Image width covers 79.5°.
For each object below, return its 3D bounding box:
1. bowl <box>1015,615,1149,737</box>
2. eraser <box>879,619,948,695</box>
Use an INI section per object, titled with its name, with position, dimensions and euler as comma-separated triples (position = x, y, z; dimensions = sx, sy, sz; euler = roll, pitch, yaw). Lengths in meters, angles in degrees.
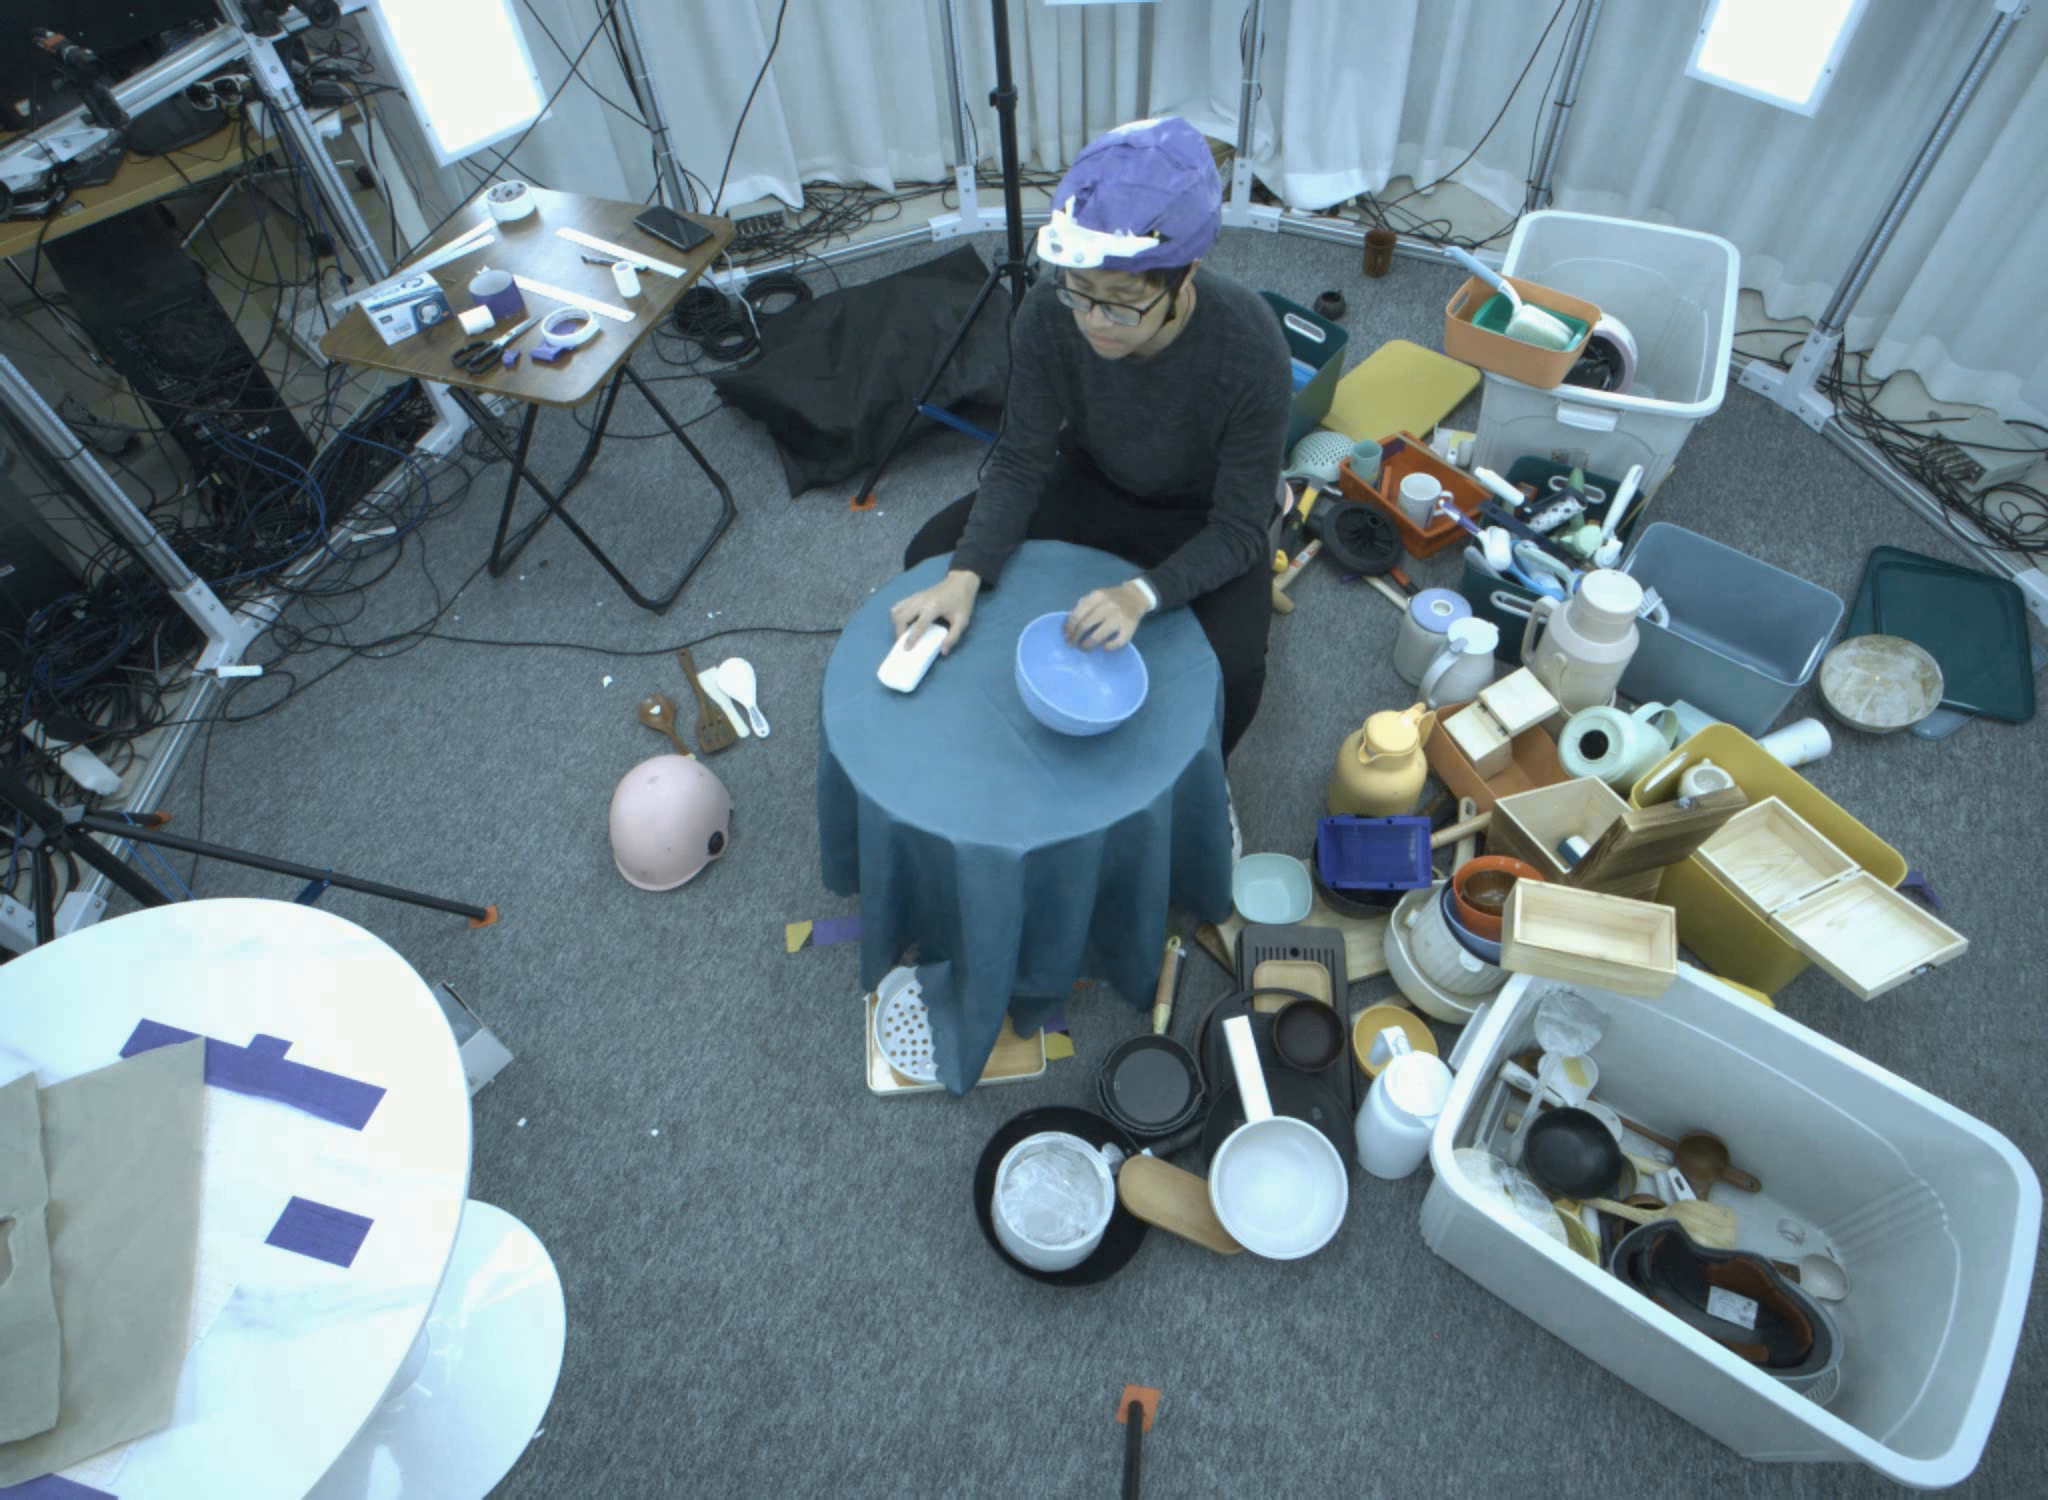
[bowl]
position = 0.072, -0.092, 1.778
dimensions = 0.199, 0.095, 0.194
euler = 11, 53, -13
[eraser]
position = -0.167, -0.144, 1.875
dimensions = 0.062, 0.035, 0.131
euler = 21, 60, 17
